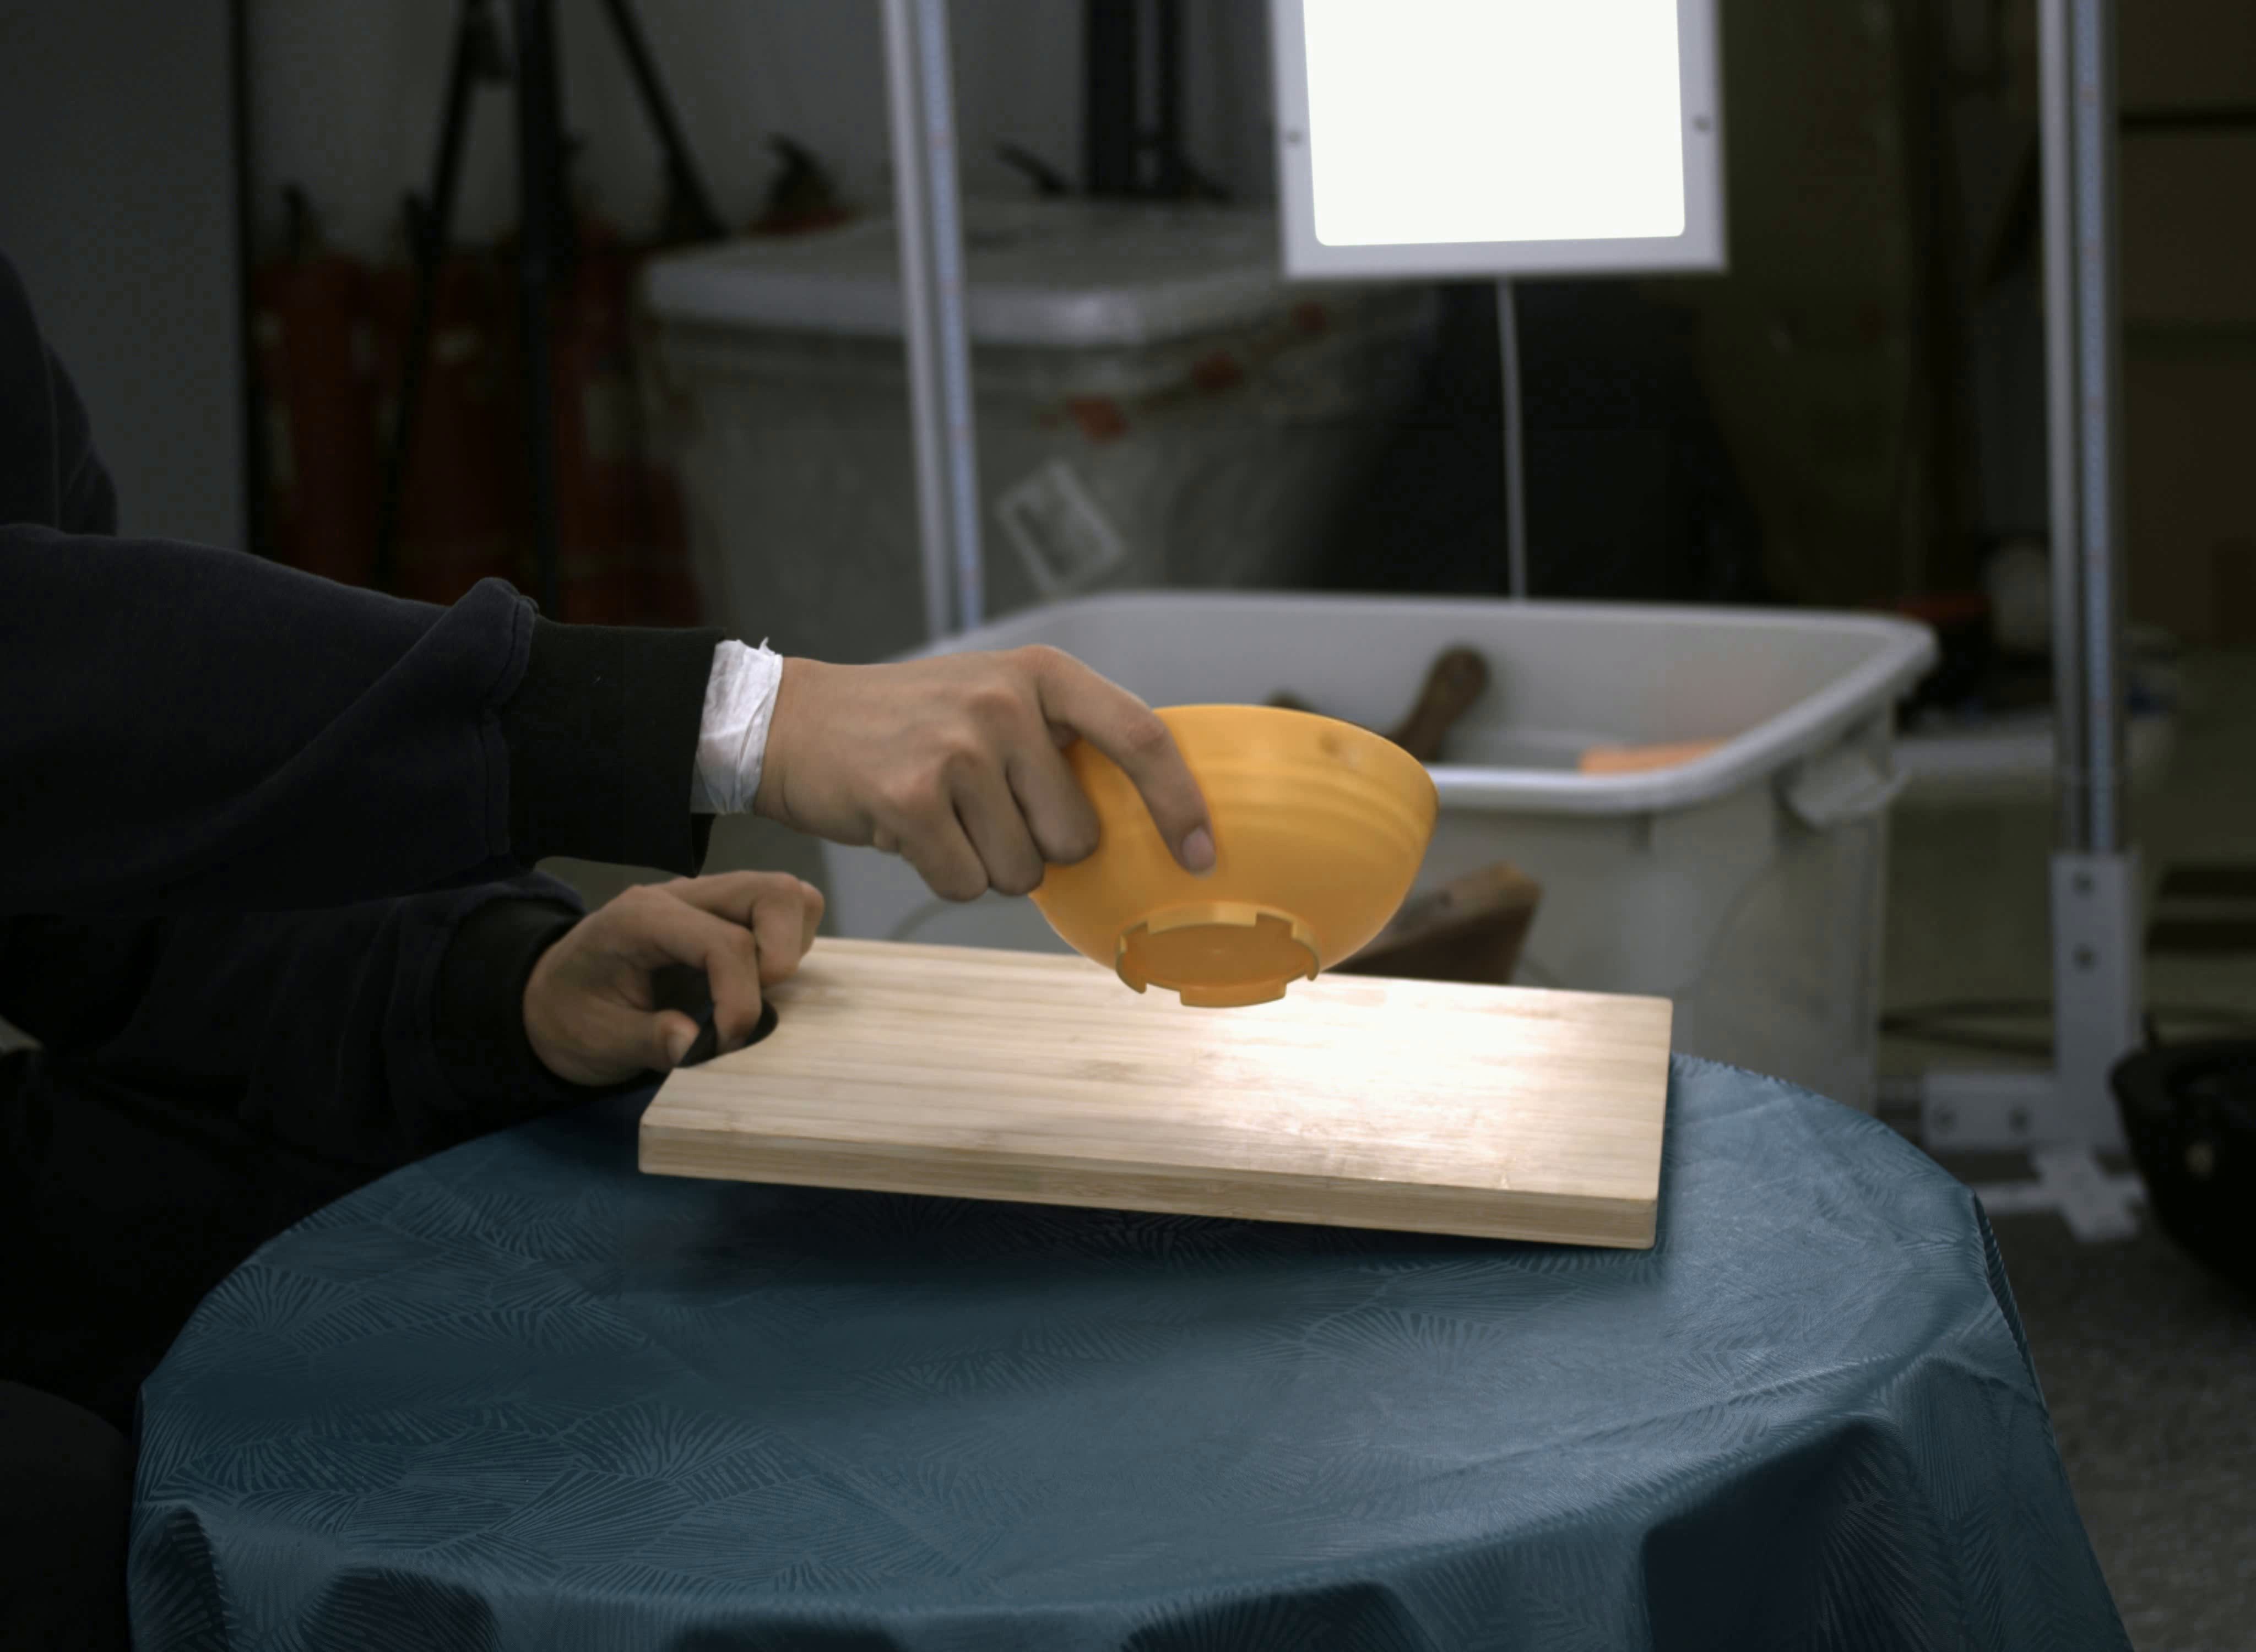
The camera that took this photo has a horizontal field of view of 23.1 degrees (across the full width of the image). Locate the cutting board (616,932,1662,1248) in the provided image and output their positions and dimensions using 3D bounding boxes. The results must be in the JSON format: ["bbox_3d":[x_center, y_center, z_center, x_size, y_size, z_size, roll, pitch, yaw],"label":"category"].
[{"bbox_3d":[0.013,0.089,1.927,0.349,0.024,0.248,3,15,7],"label":"cutting board"}]

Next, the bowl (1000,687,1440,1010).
[{"bbox_3d":[0.030,0.018,1.772,0.145,0.060,0.146,2,-30,-1],"label":"bowl"}]
